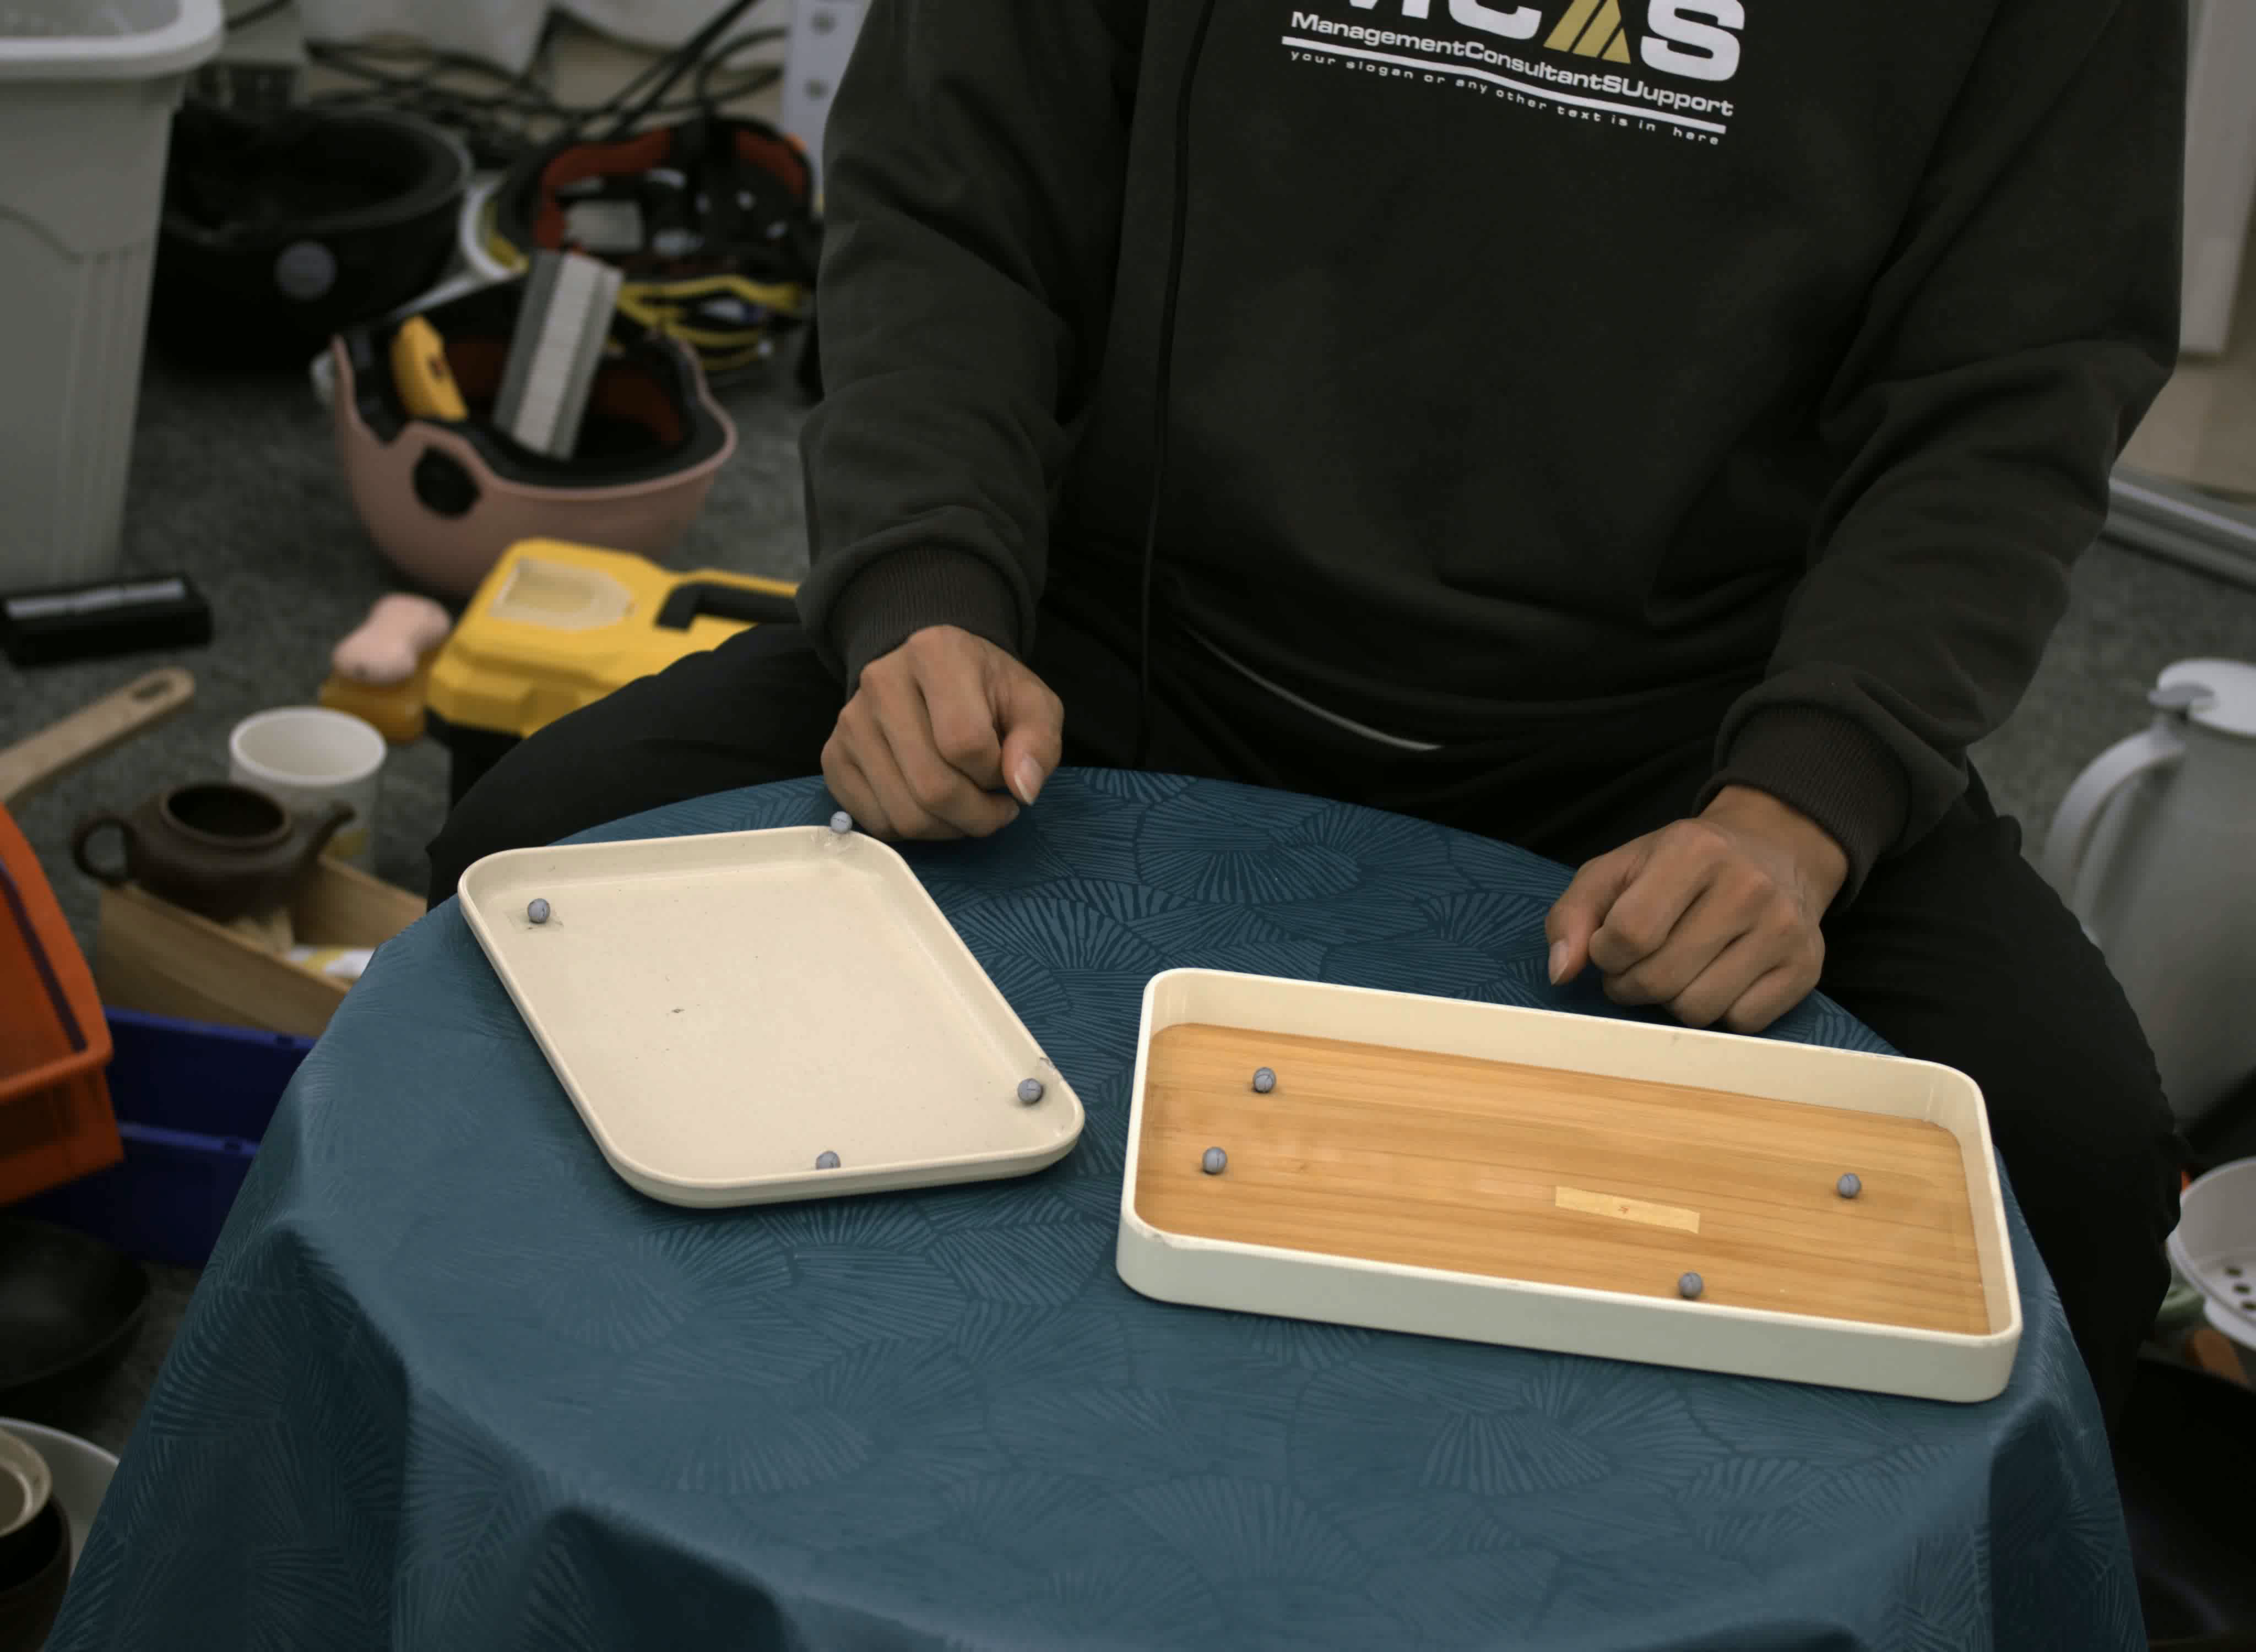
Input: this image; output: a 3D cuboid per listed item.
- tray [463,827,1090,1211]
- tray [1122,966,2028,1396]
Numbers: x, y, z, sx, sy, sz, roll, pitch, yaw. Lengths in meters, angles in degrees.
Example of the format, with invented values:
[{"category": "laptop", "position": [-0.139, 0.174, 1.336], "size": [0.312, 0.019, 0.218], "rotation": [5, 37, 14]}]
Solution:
[{"category": "tray", "position": [-0.127, 0.066, 1.870], "size": [0.170, 0.017, 0.242], "rotation": [-5, 29, -22]}, {"category": "tray", "position": [0.150, 0.119, 1.821], "size": [0.299, 0.027, 0.192], "rotation": [7, 26, 0]}]
